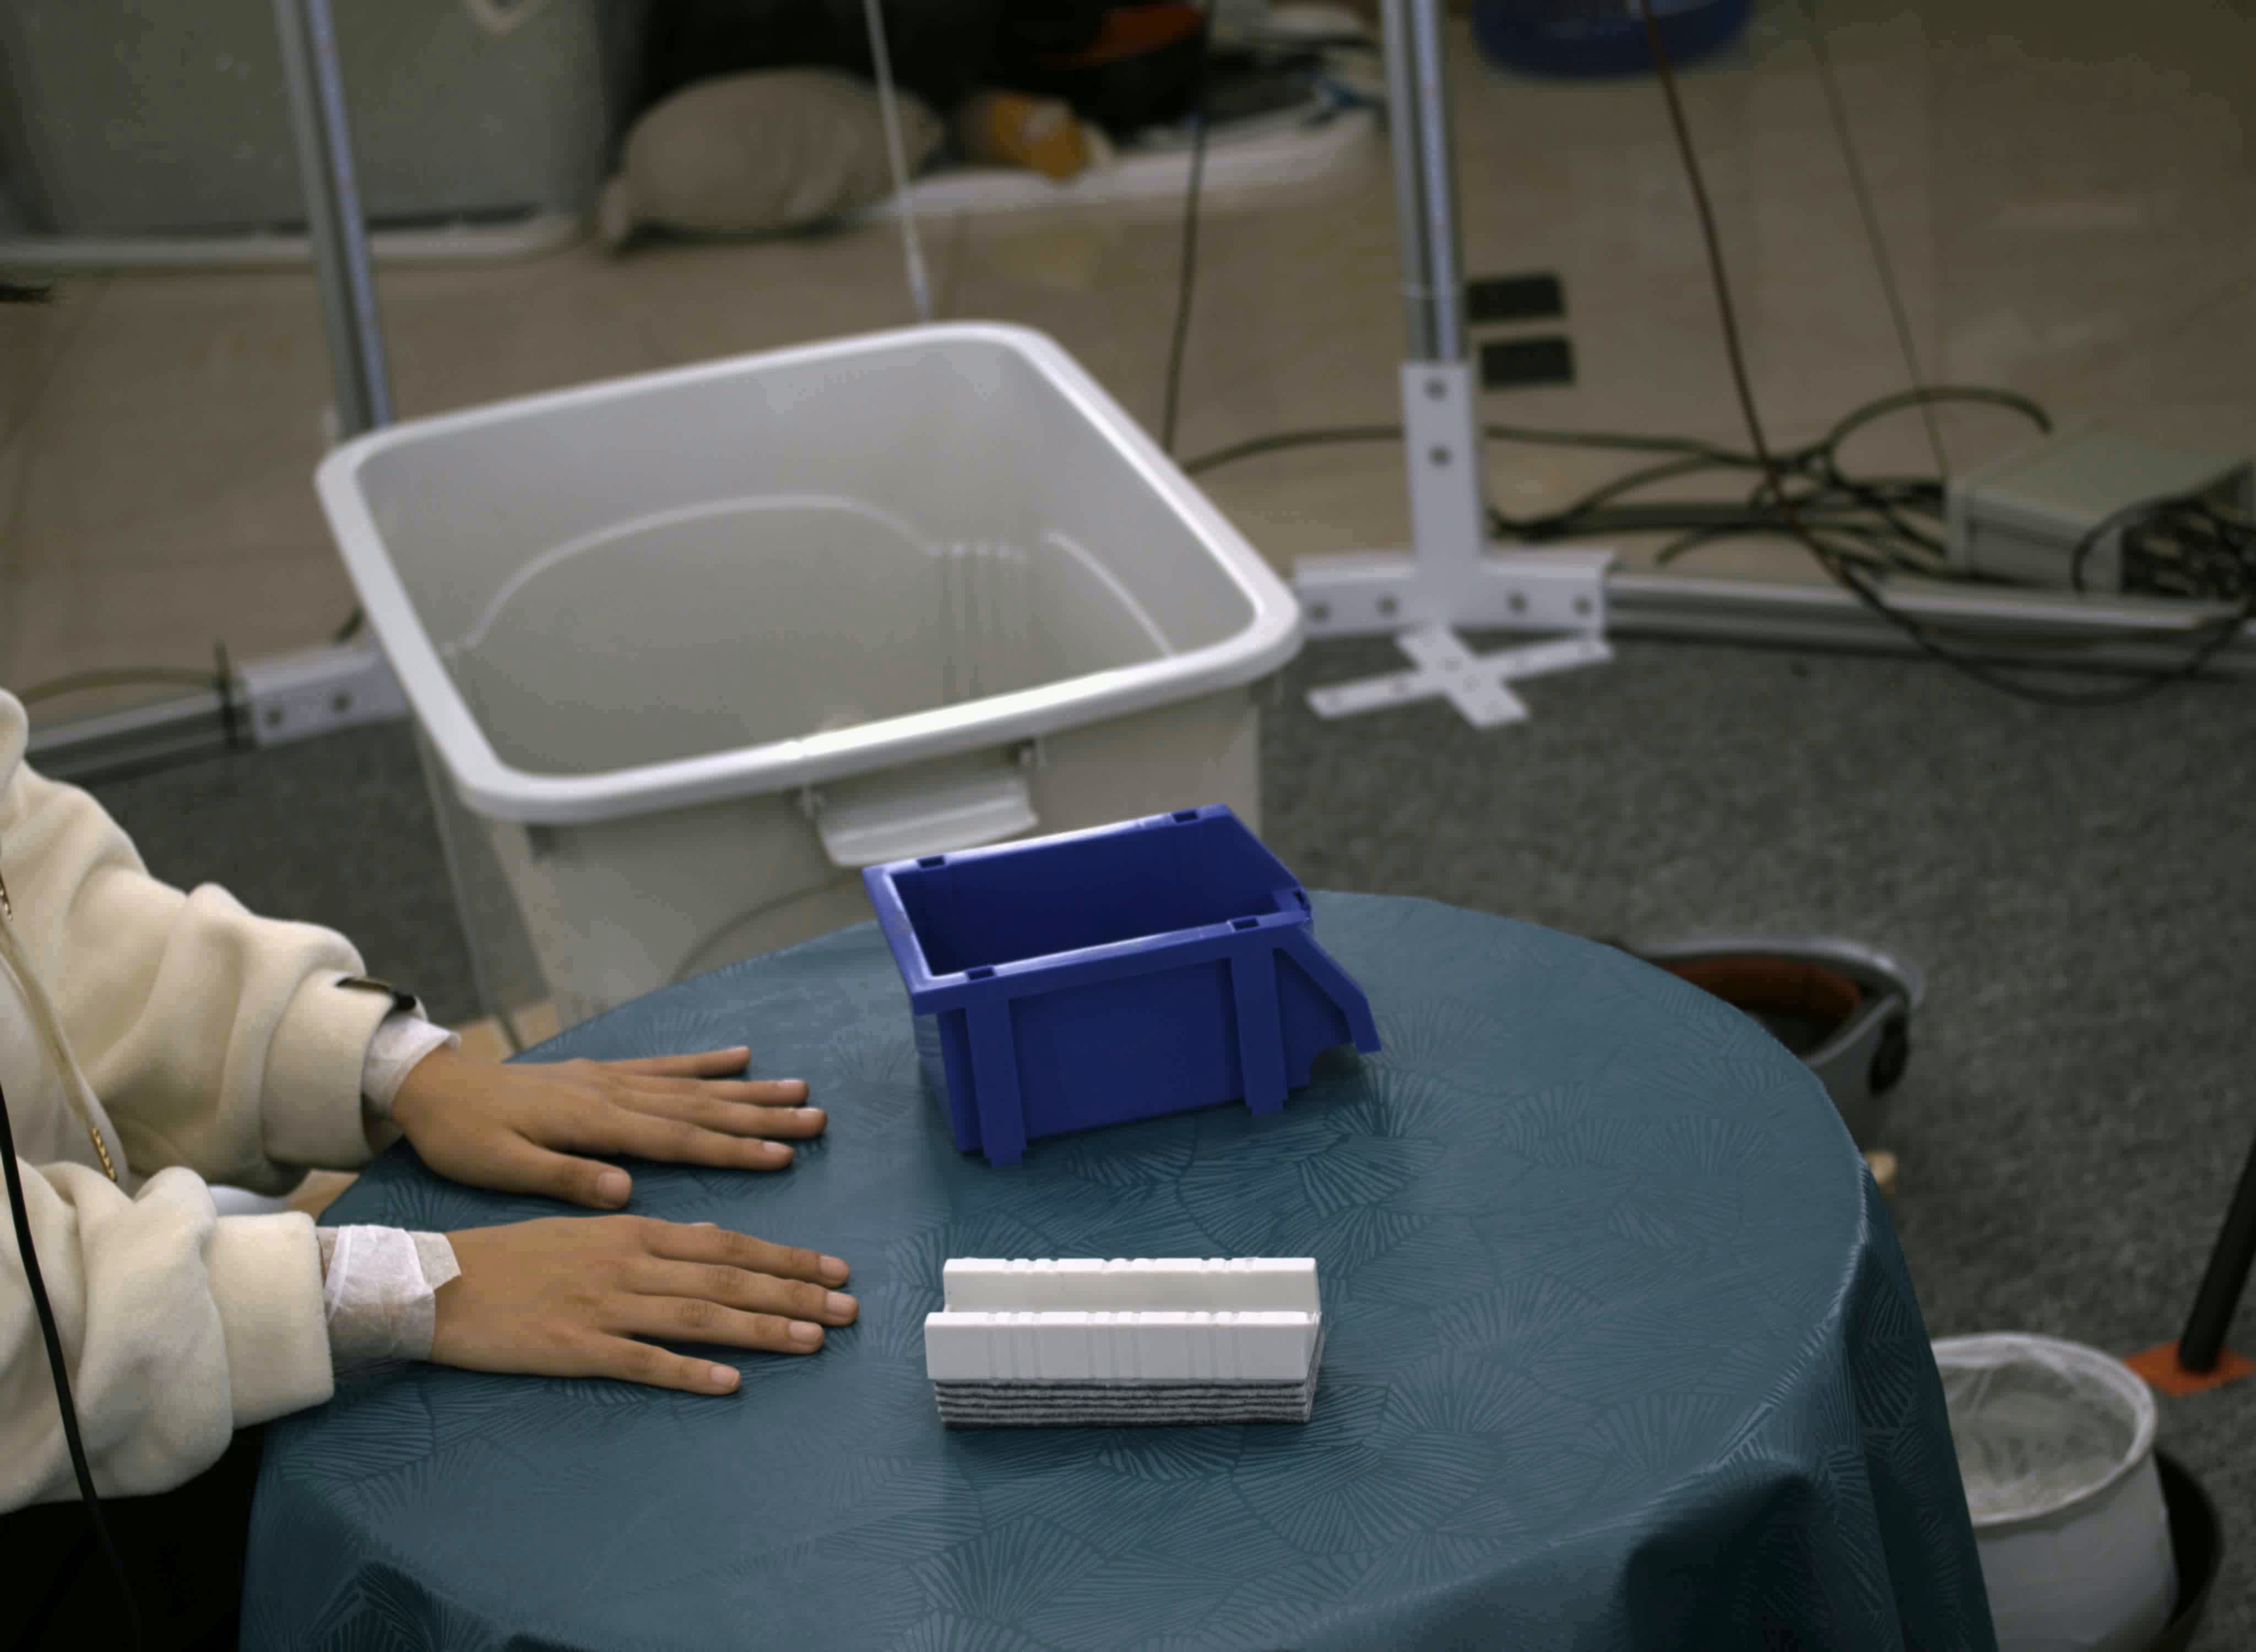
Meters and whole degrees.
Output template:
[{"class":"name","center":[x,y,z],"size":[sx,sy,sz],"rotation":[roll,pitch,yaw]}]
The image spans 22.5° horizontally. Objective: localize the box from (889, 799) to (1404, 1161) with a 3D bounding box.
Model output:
[{"class":"box","center":[0.007,0.057,2.224],"size":[0.179,0.083,0.123],"rotation":[-11,26,-6]}]

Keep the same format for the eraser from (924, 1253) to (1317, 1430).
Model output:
[{"class":"eraser","center":[-0.002,0.182,1.999],"size":[0.134,0.047,0.049],"rotation":[-1,27,7]}]
